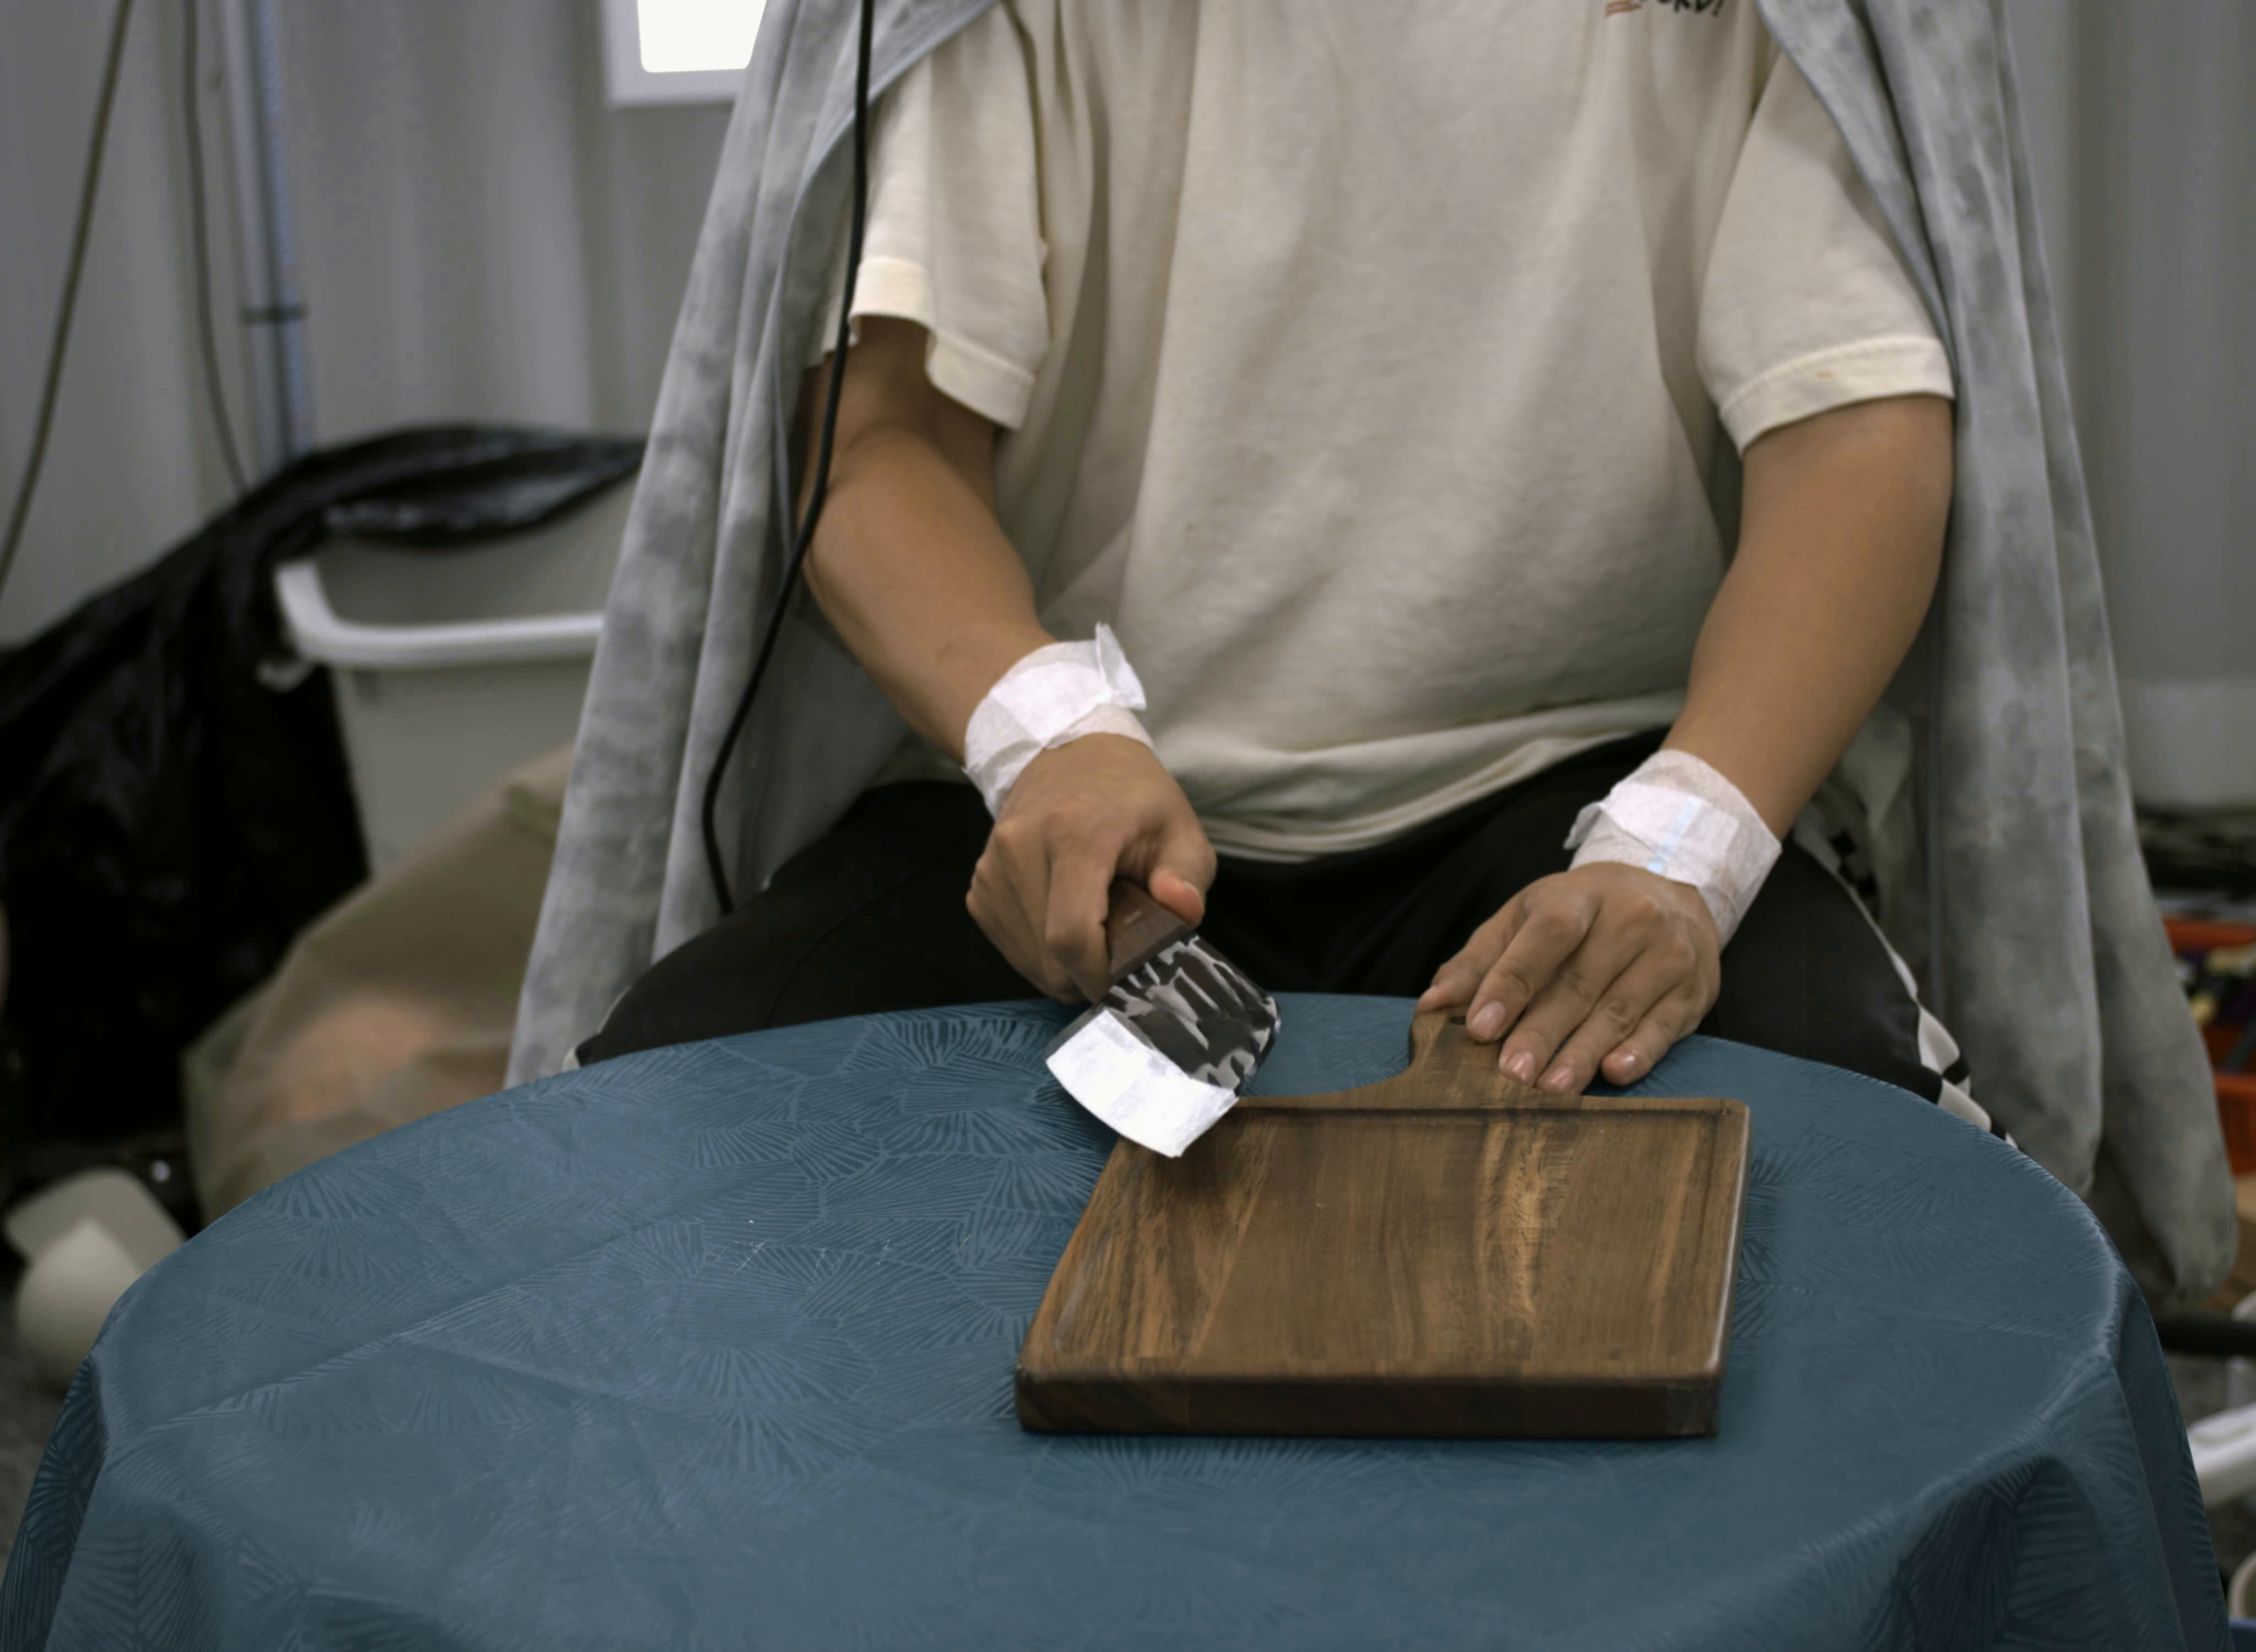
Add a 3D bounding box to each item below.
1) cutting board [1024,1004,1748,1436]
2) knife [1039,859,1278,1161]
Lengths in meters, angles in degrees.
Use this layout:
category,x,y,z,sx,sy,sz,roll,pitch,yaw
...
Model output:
category,x,y,z,sx,sy,sz,roll,pitch,yaw
cutting board,0.089,0.114,1.665,0.200,0.023,0.354,0,14,8
knife,0.002,0.060,1.802,0.068,0.024,0.301,-38,15,-3
